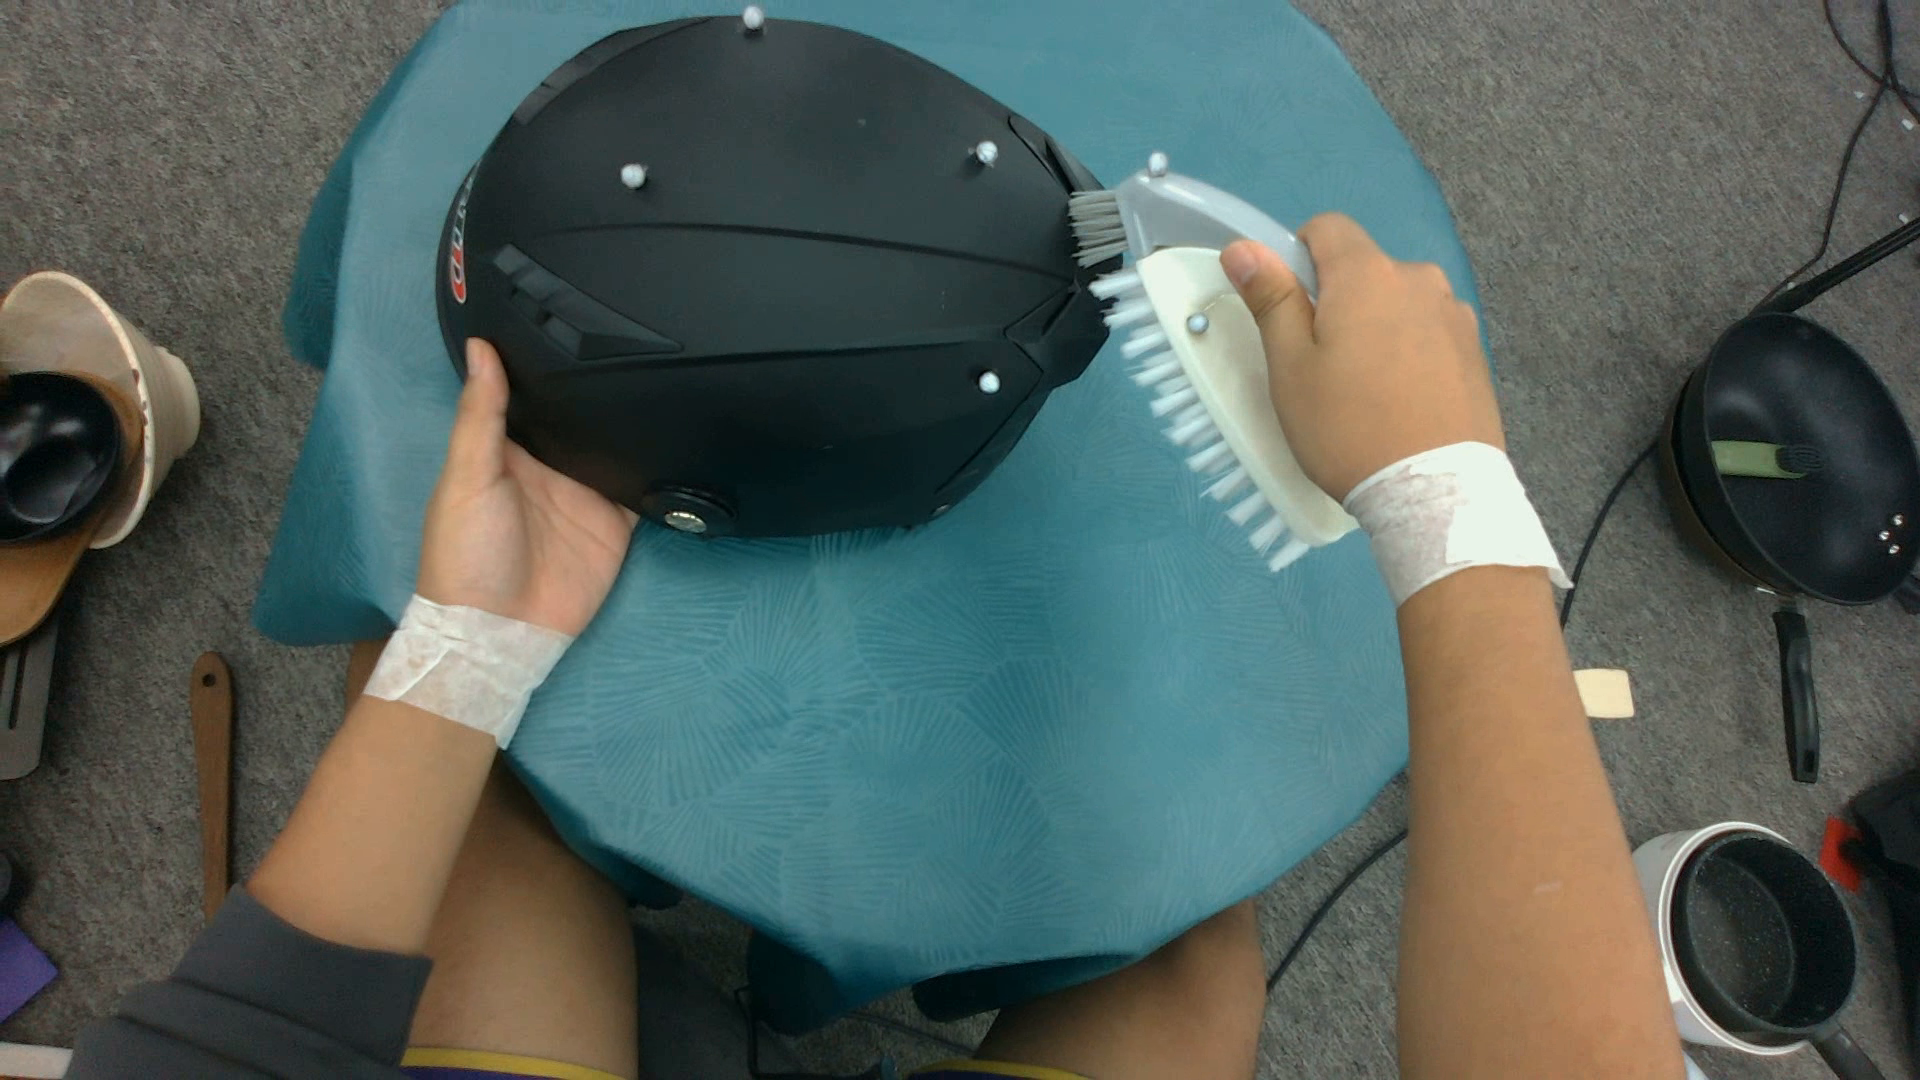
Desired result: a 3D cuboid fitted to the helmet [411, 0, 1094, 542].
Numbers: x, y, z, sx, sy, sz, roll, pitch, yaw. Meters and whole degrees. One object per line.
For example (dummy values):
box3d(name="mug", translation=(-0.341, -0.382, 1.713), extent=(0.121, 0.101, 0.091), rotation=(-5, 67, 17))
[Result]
box3d(name="helmet", translation=(-0.085, -0.130, 0.591), extent=(0.277, 0.171, 0.247), rotation=(9, 71, -19))

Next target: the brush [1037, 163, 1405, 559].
box3d(name="brush", translation=(0.107, -0.083, 0.545), extent=(0.175, 0.094, 0.062), rotation=(53, 49, -3))
